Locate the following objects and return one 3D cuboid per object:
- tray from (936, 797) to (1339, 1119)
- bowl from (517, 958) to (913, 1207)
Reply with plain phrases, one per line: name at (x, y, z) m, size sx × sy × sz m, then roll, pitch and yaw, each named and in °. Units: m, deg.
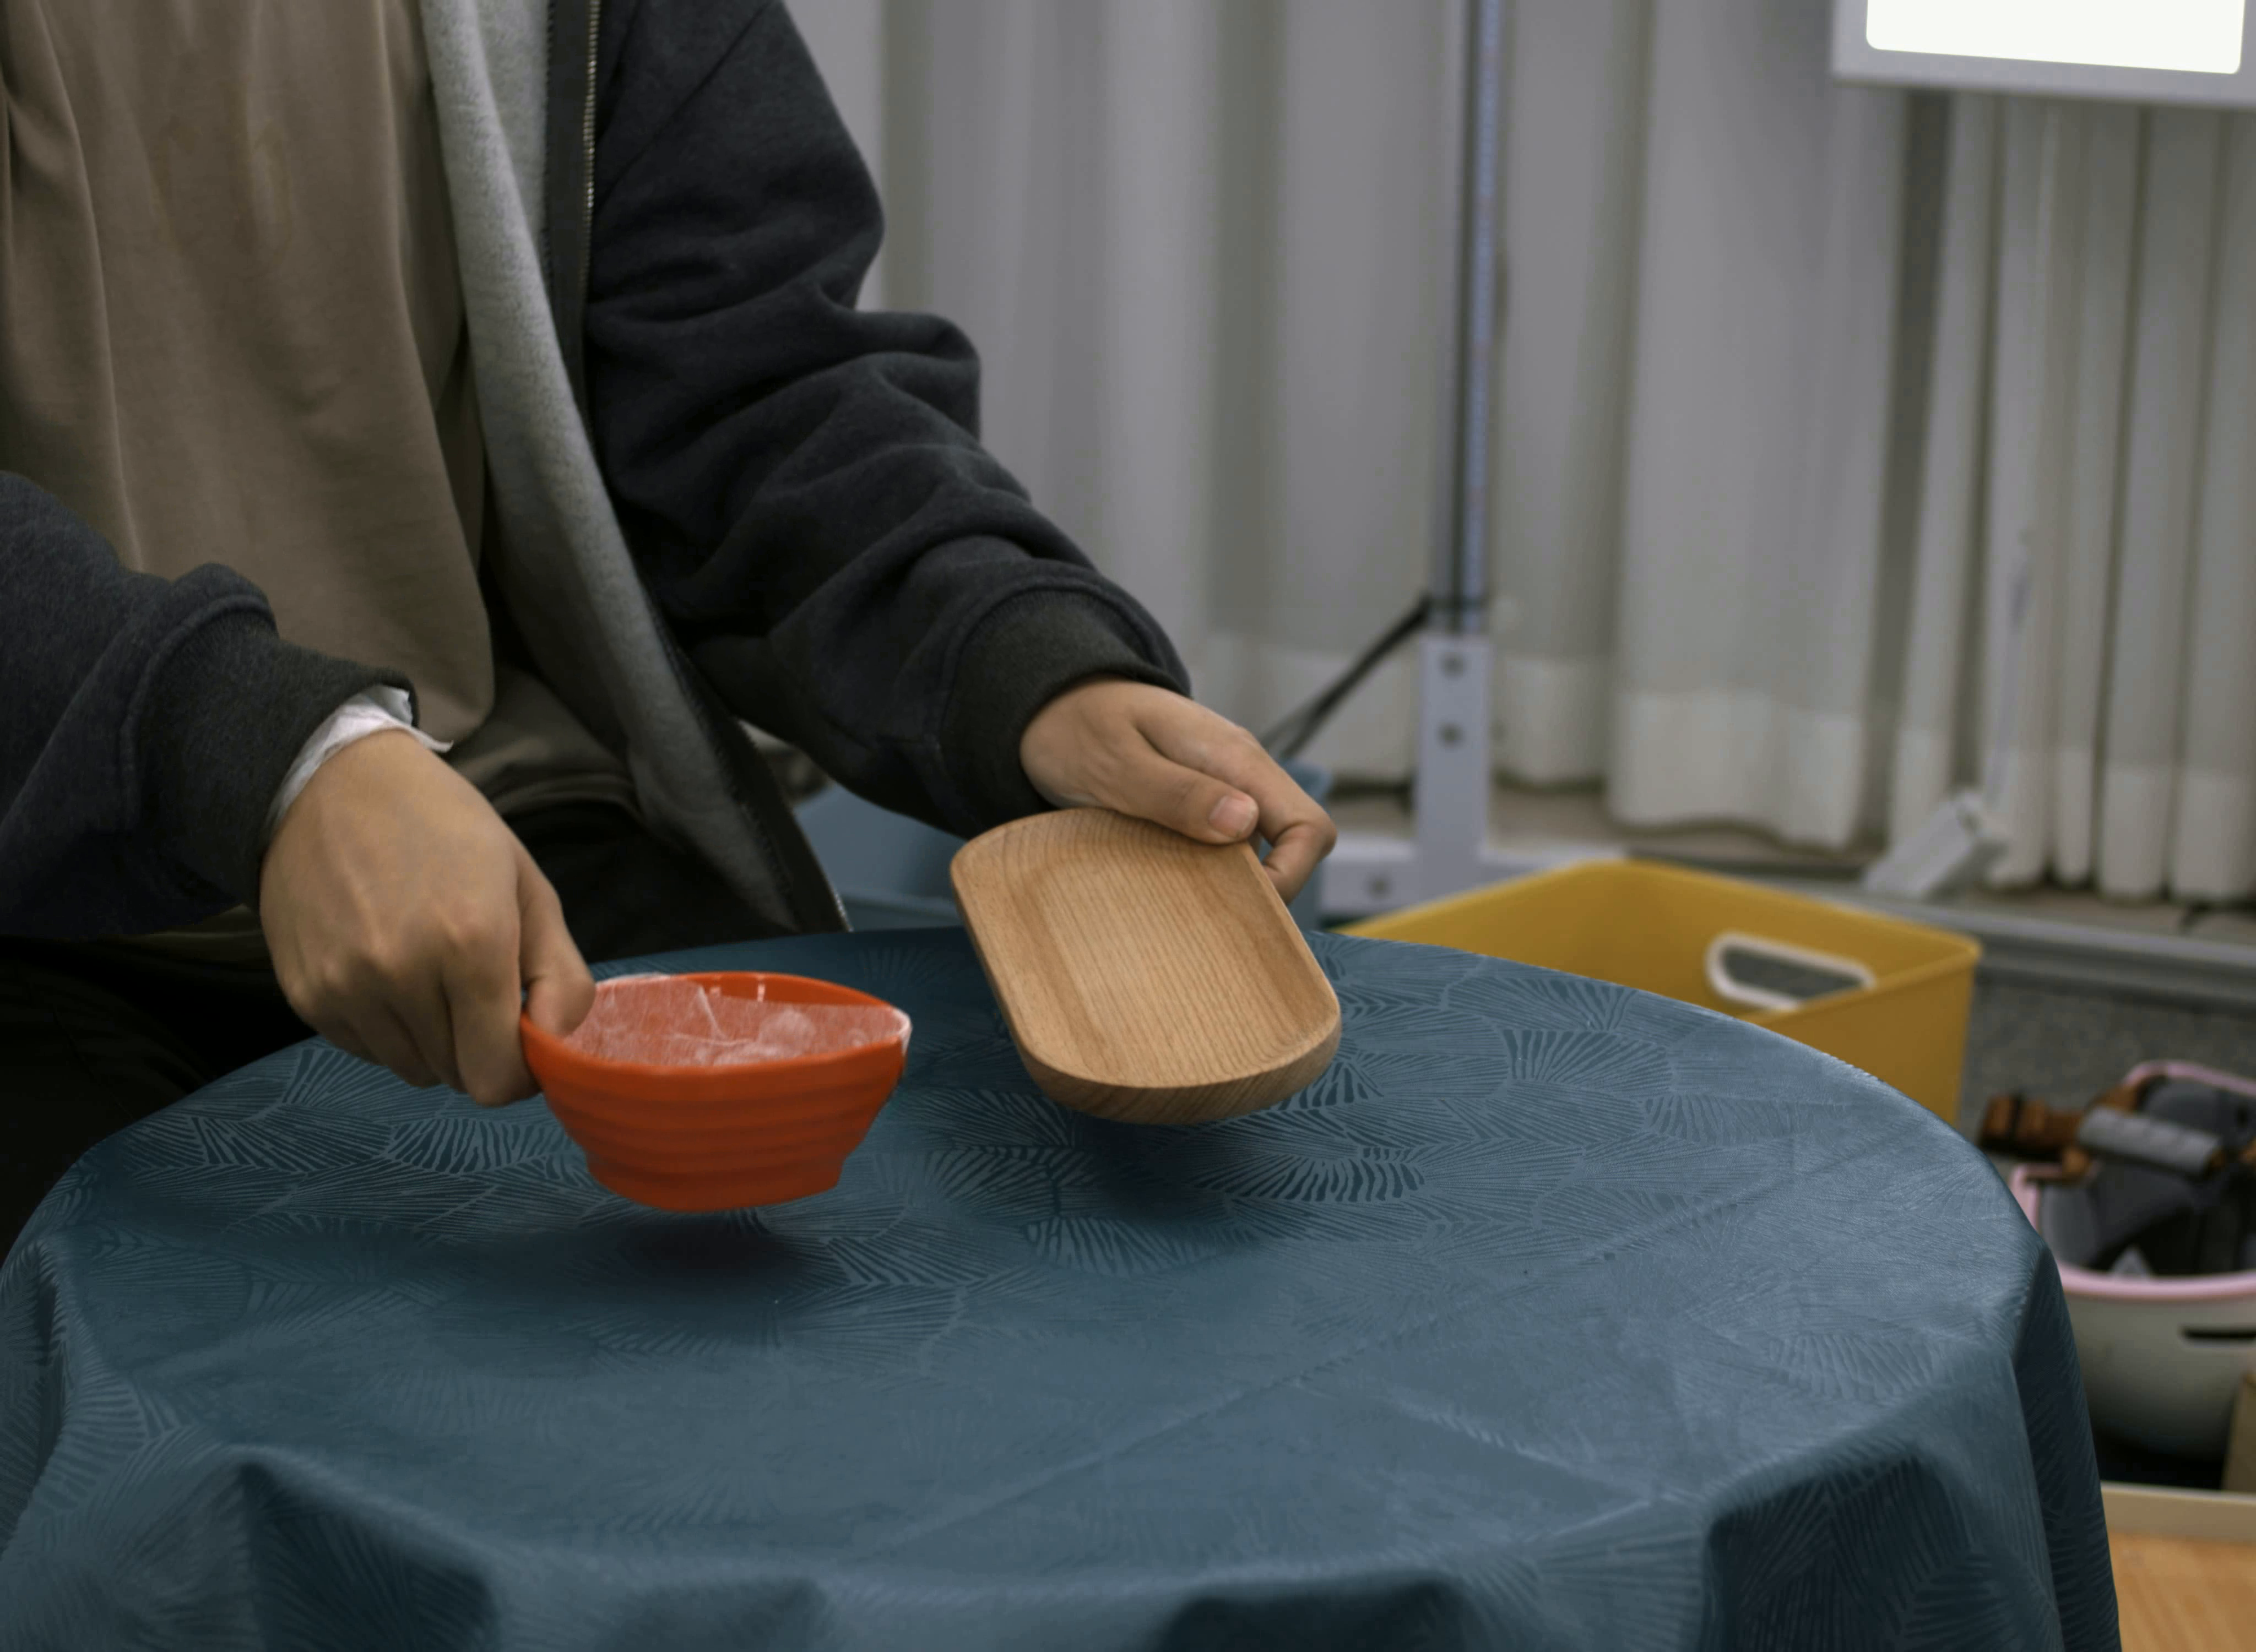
tray at (0.001, 0.040, 1.687) m, size 0.101 × 0.020 × 0.229 m, roll -7°, pitch 22°, yaw -11°
bowl at (-0.123, 0.077, 1.563) m, size 0.118 × 0.052 × 0.118 m, roll 1°, pitch 14°, yaw 0°
